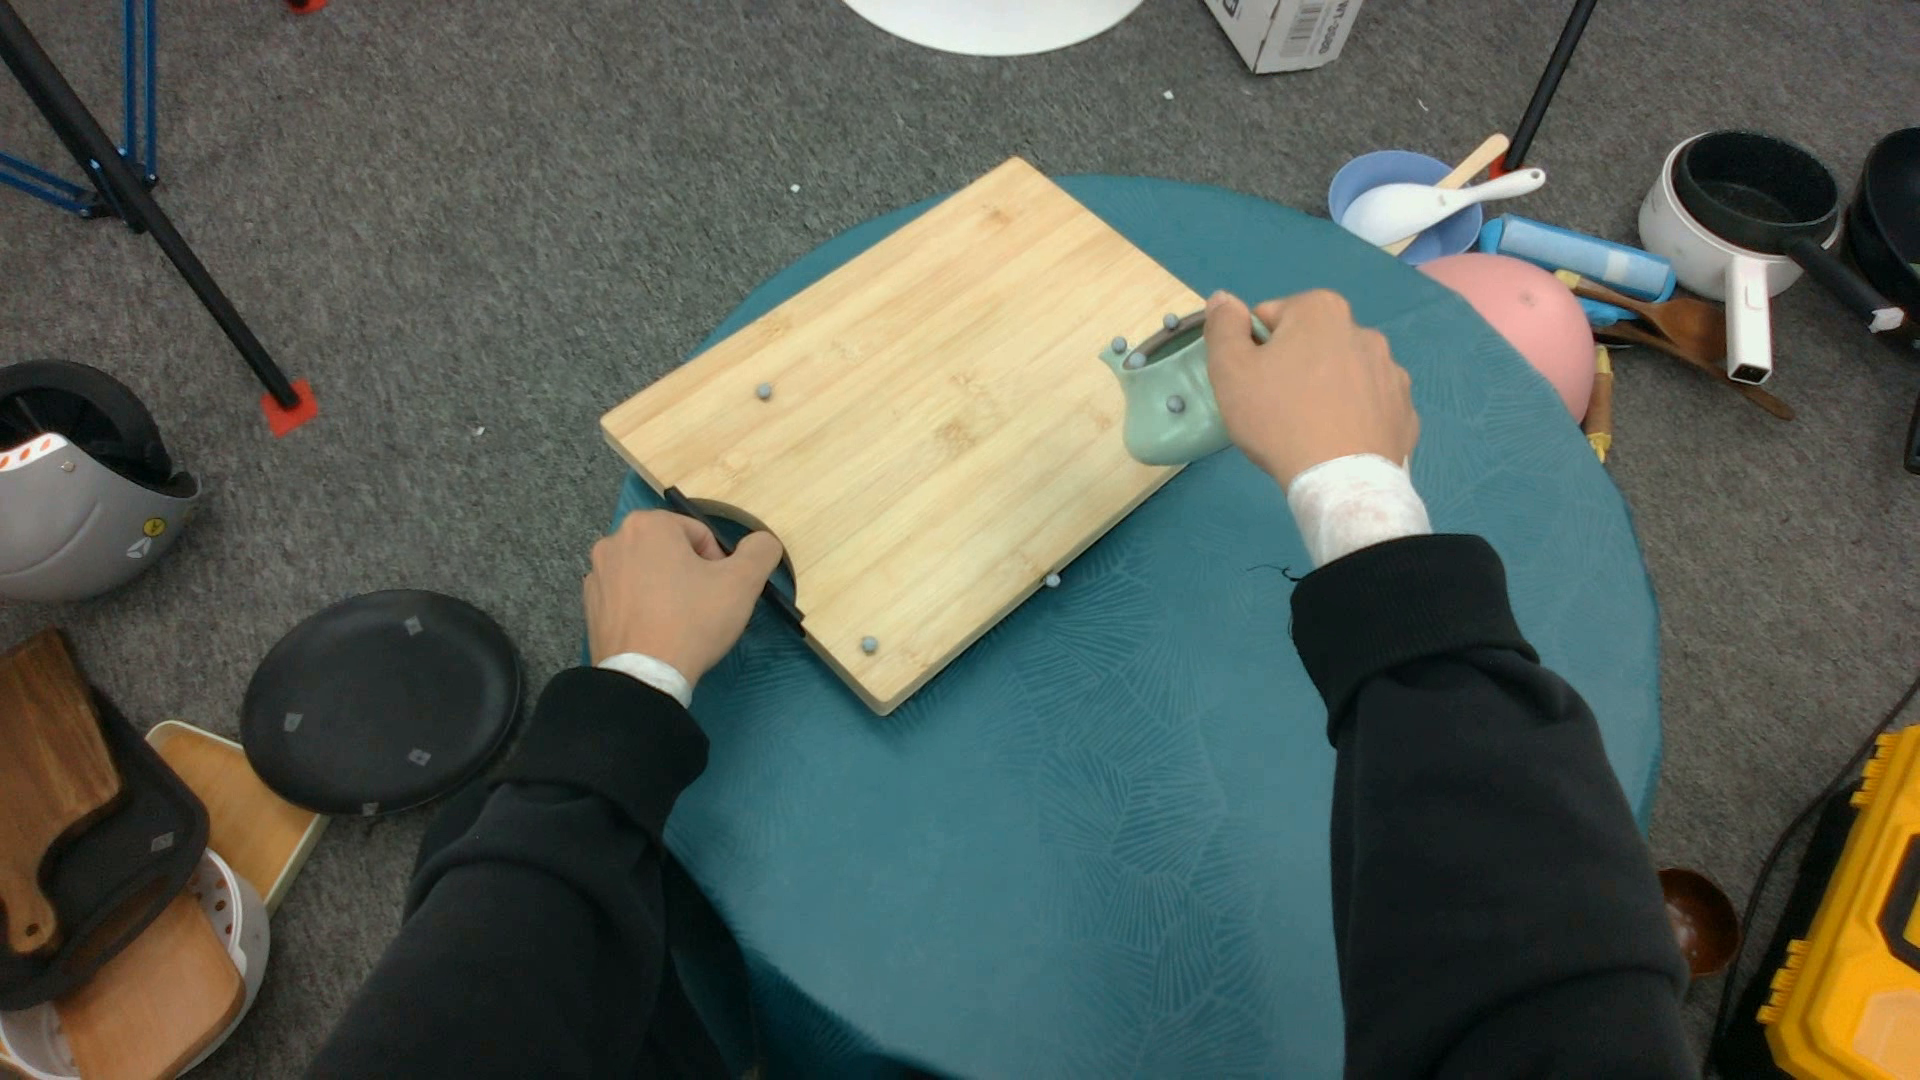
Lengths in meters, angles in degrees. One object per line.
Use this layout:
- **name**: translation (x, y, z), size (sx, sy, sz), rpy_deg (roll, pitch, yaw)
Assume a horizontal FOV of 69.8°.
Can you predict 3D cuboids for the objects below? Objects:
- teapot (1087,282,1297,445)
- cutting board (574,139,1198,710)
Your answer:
- **teapot**: translation (0.119, -0.090, 0.688), size (0.096, 0.136, 0.061), rpy_deg (-41, 108, -23)
- **cutting board**: translation (-0.010, -0.089, 0.815), size (0.251, 0.023, 0.350), rpy_deg (41, 63, 19)
